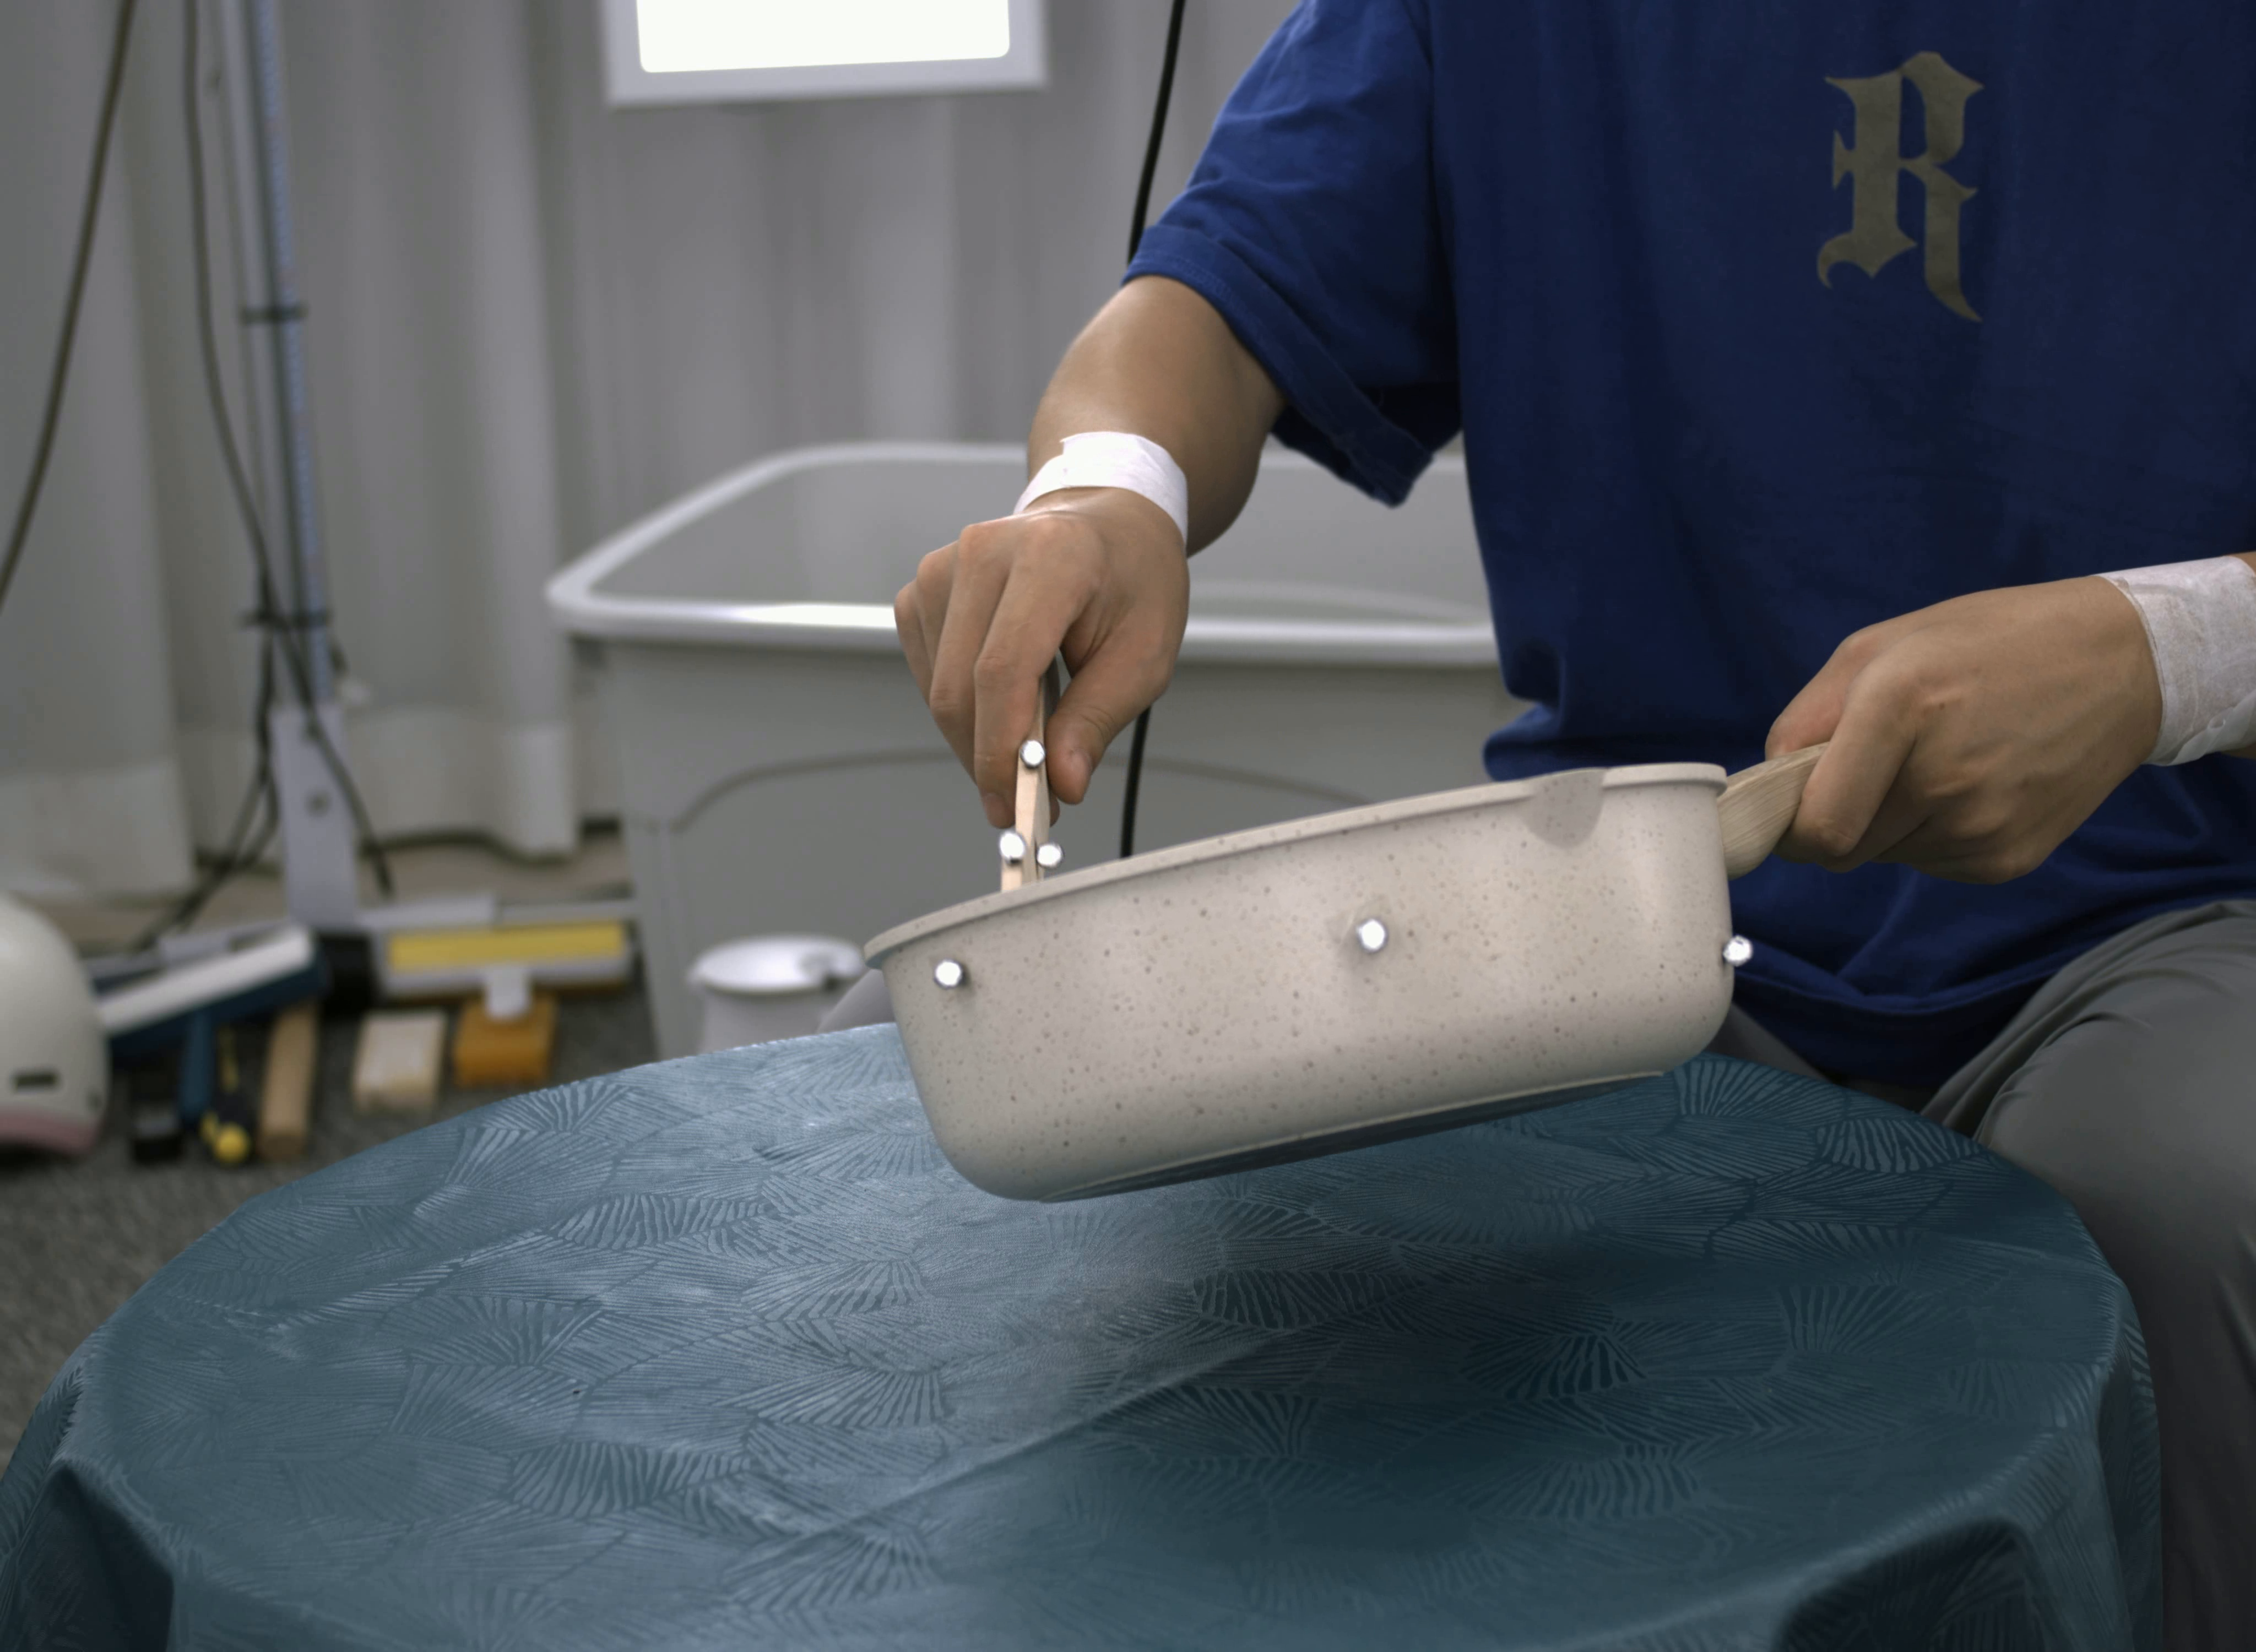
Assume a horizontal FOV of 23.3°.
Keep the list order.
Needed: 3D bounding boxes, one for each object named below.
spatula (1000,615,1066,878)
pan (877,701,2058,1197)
[{"bbox_3d":[-0.028,0.003,1.665,0.010,0.071,0.296,-6,25,4],"label":"spatula"},{"bbox_3d":[0.130,0.030,1.606,0.433,0.102,0.263,-7,-9,-37],"label":"pan"}]
